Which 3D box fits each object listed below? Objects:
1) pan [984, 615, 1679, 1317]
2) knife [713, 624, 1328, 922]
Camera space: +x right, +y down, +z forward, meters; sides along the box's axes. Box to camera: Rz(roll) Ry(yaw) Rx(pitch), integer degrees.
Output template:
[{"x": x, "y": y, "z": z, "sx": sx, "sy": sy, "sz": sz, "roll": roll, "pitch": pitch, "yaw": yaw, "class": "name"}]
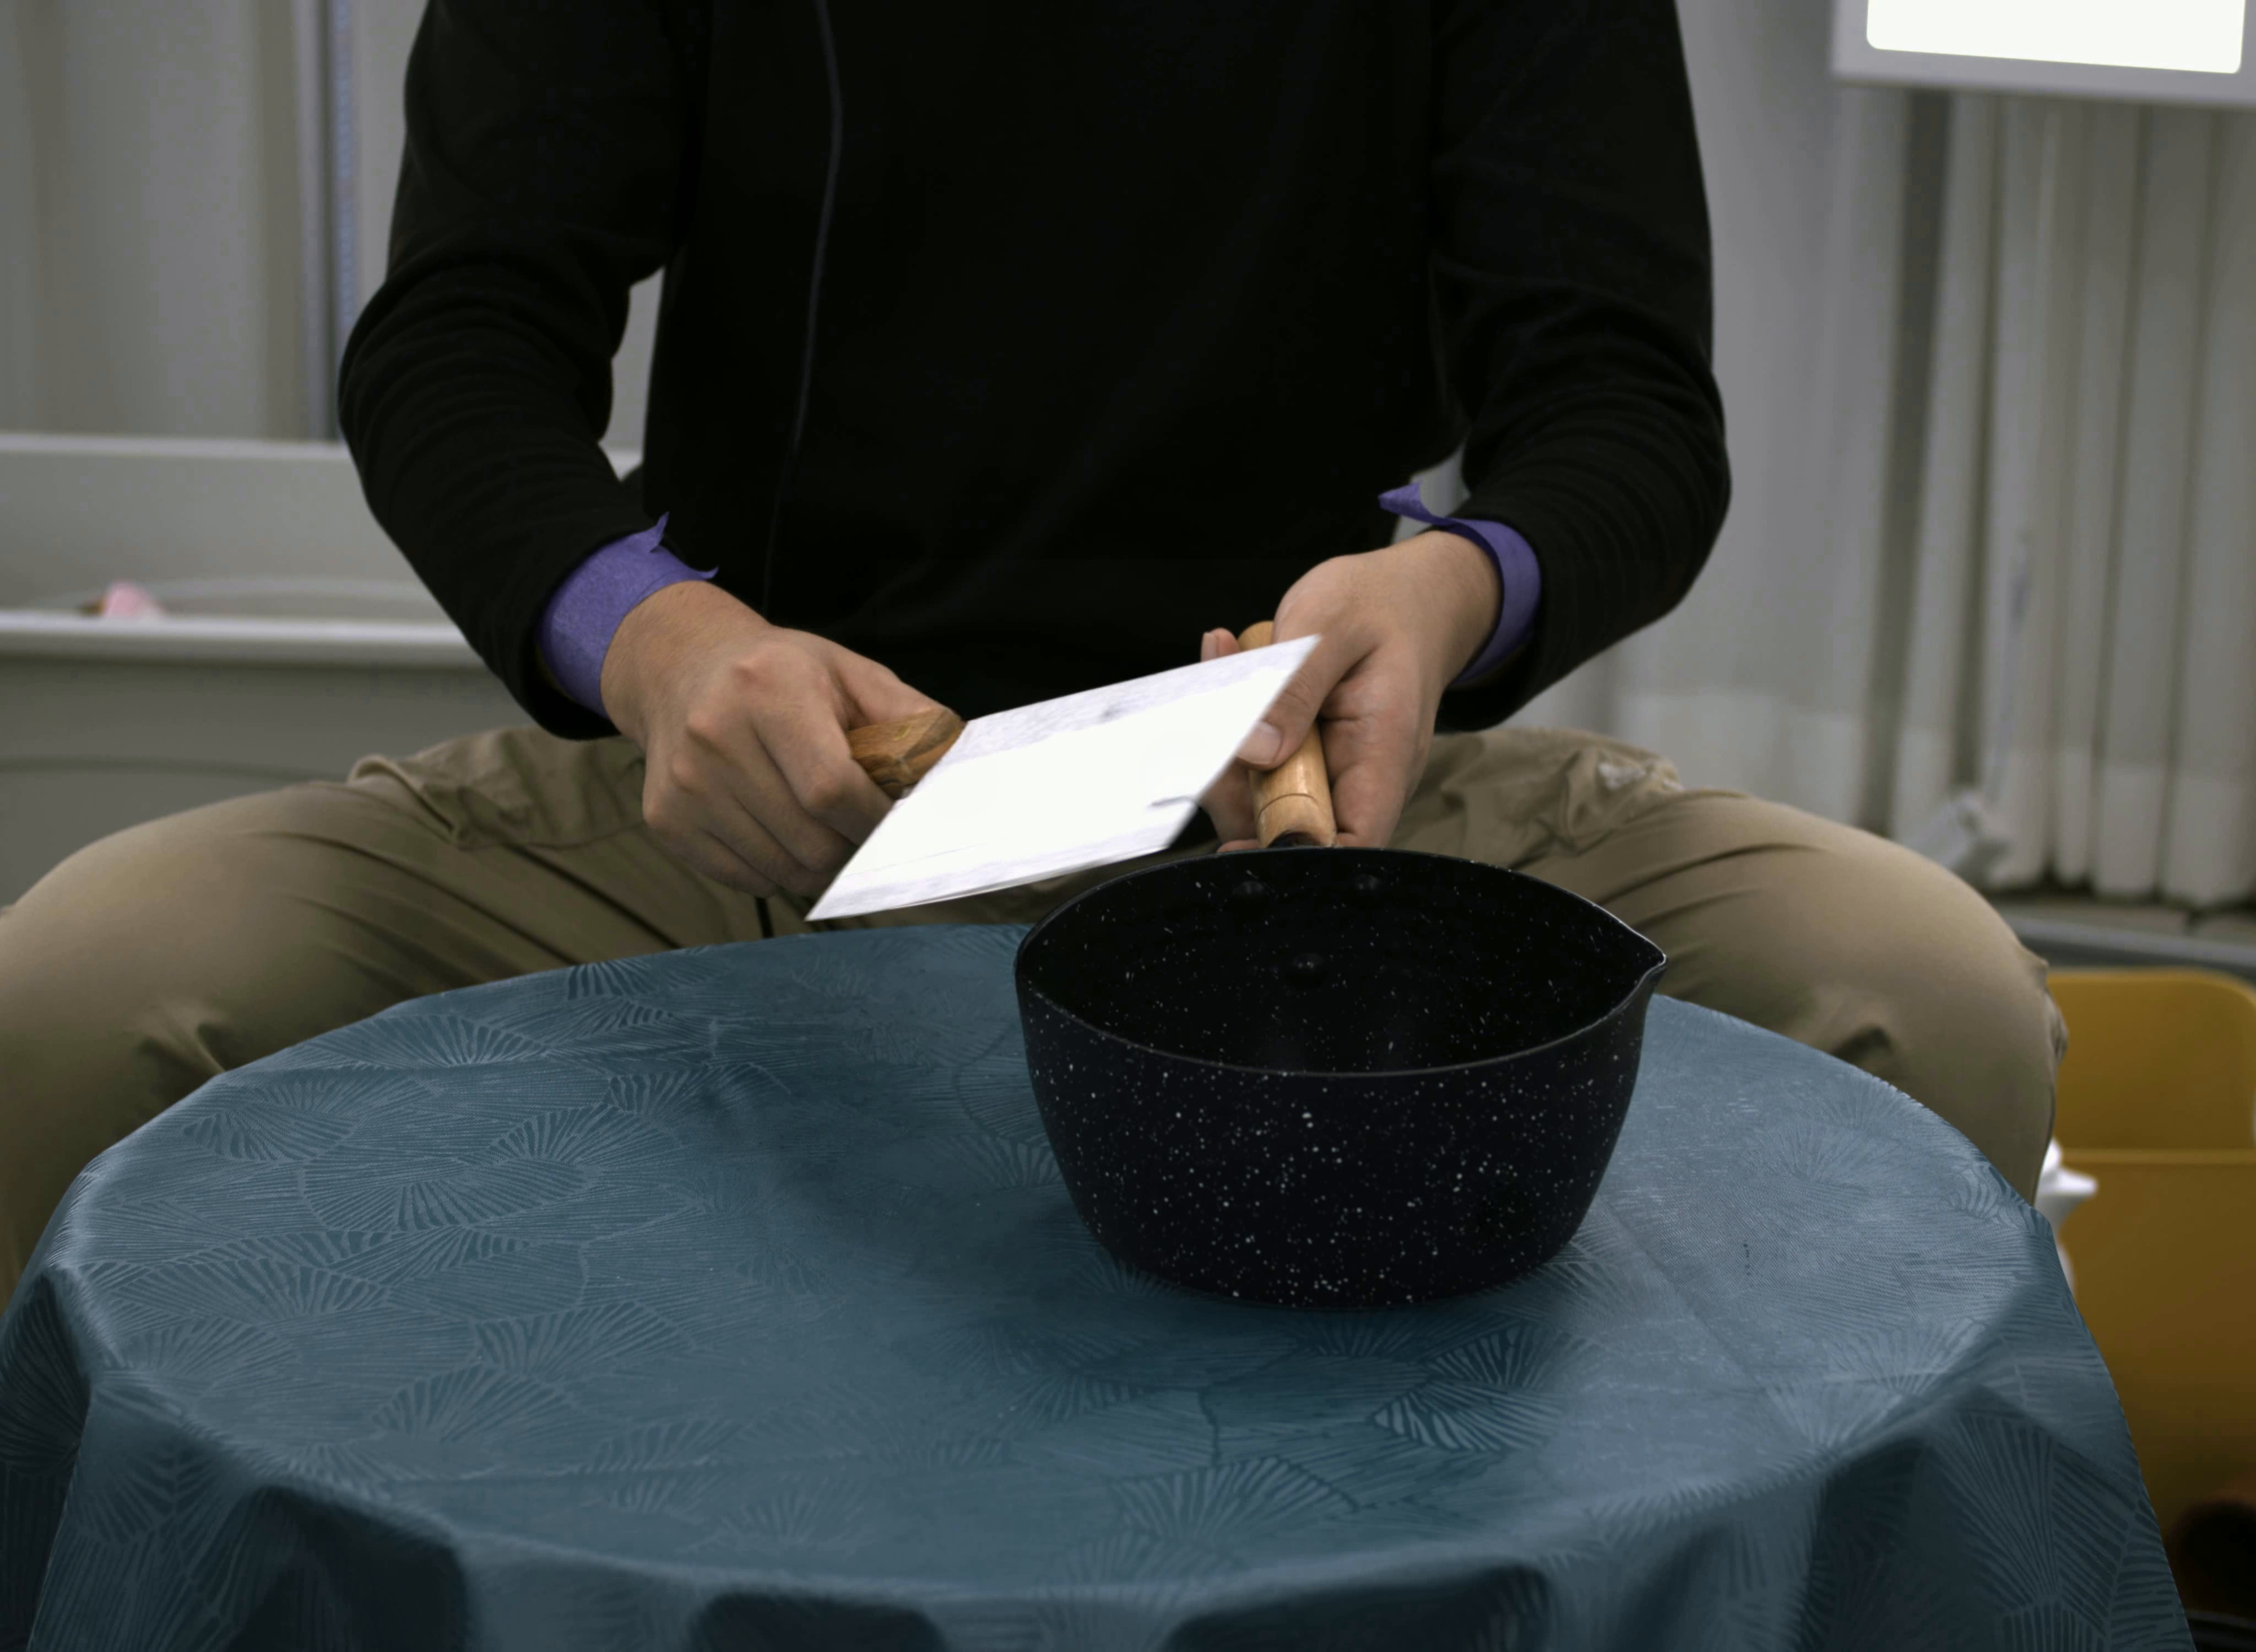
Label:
[{"x": 0.055, "y": 0.039, "z": 1.645, "sx": 0.207, "sy": 0.109, "sz": 0.340, "roll": -1, "pitch": 22, "yaw": -4, "class": "pan"}, {"x": -0.051, "y": -0.009, "z": 1.629, "sx": 0.303, "sy": 0.021, "sz": 0.093, "roll": -13, "pitch": 36, "yaw": 52, "class": "knife"}]
